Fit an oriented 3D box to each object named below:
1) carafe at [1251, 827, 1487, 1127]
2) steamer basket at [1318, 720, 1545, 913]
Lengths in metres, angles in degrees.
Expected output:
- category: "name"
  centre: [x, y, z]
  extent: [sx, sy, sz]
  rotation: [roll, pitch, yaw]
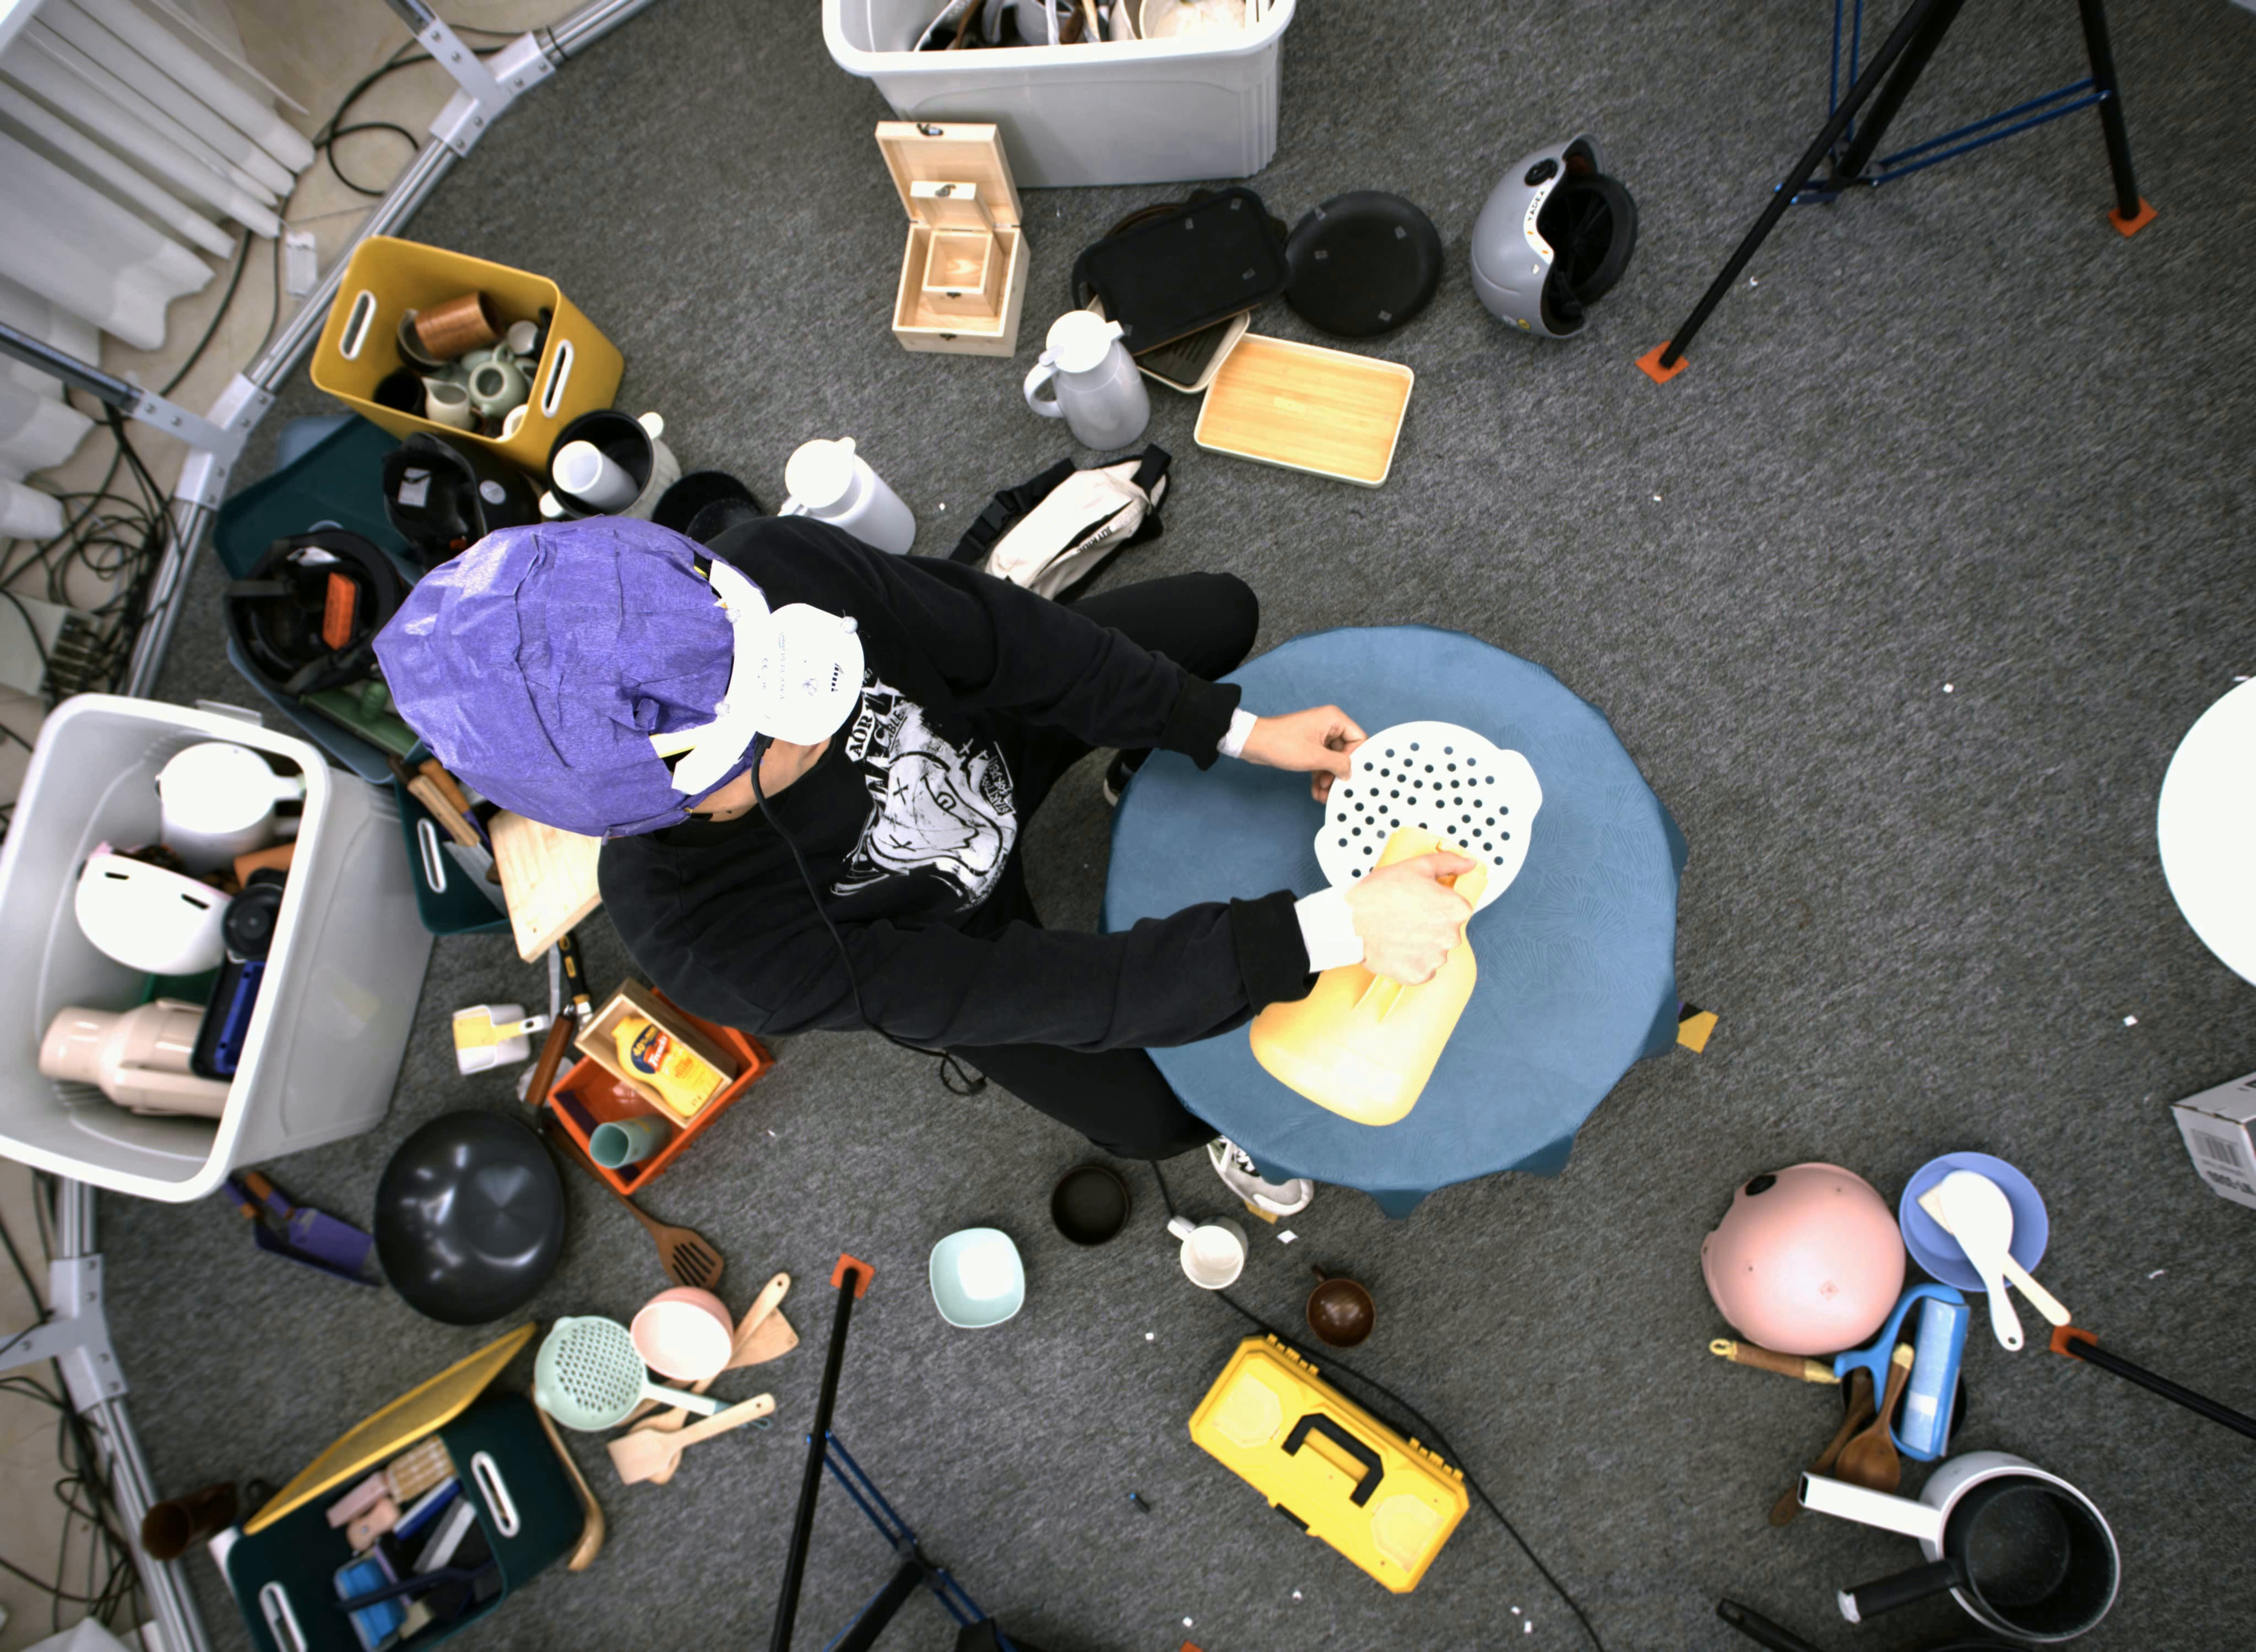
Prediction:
- category: "carafe"
  centre: [0.226, 0.127, 1.232]
  extent: [0.163, 0.202, 0.260]
  rotation: [26, 91, 10]
- category: "steamer basket"
  centre: [0.306, -0.006, 1.396]
  extent: [0.232, 0.069, 0.201]
  rotation: [-24, 85, 7]
